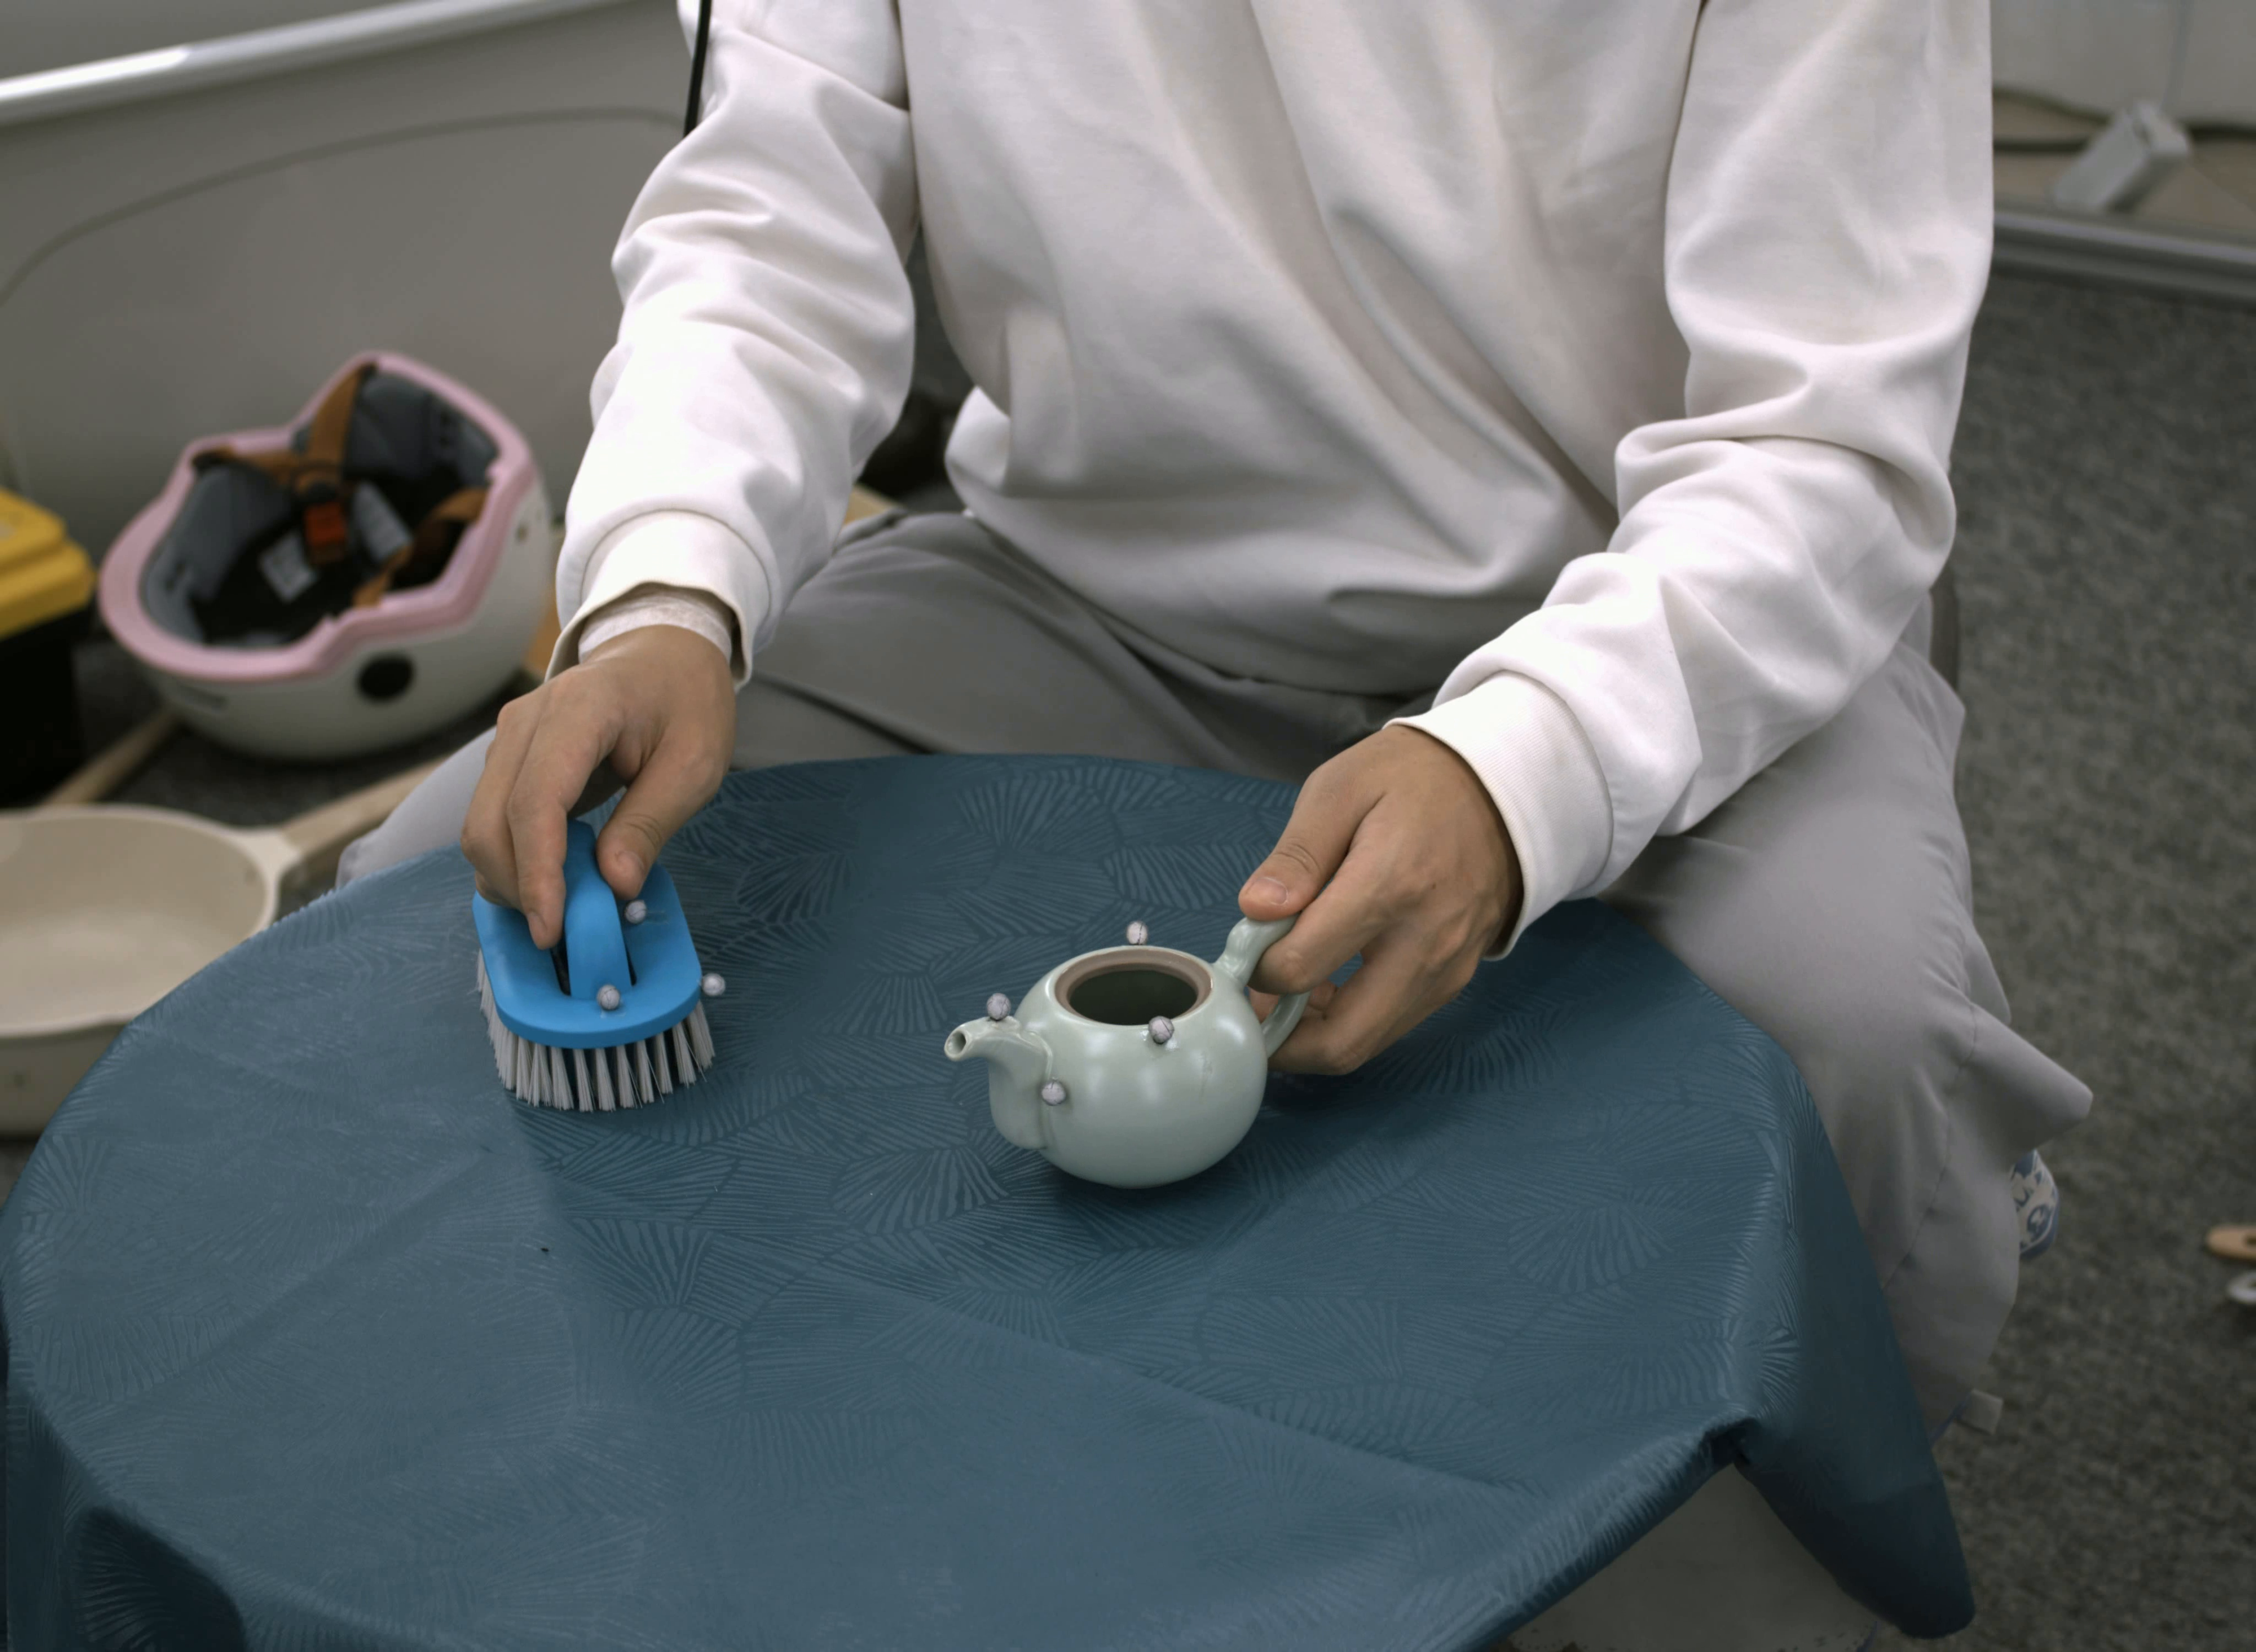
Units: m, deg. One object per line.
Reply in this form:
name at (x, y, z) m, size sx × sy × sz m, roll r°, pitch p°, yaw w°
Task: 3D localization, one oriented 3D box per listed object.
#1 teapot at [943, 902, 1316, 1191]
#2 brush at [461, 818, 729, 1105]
teapot at (0.003, 0.079, 1.869) m, size 0.145 × 0.074 × 0.088 m, roll -20°, pitch 30°, yaw -26°
brush at (-0.191, 0.039, 1.972) m, size 0.084 × 0.063 × 0.143 m, roll -13°, pitch 27°, yaw -8°
